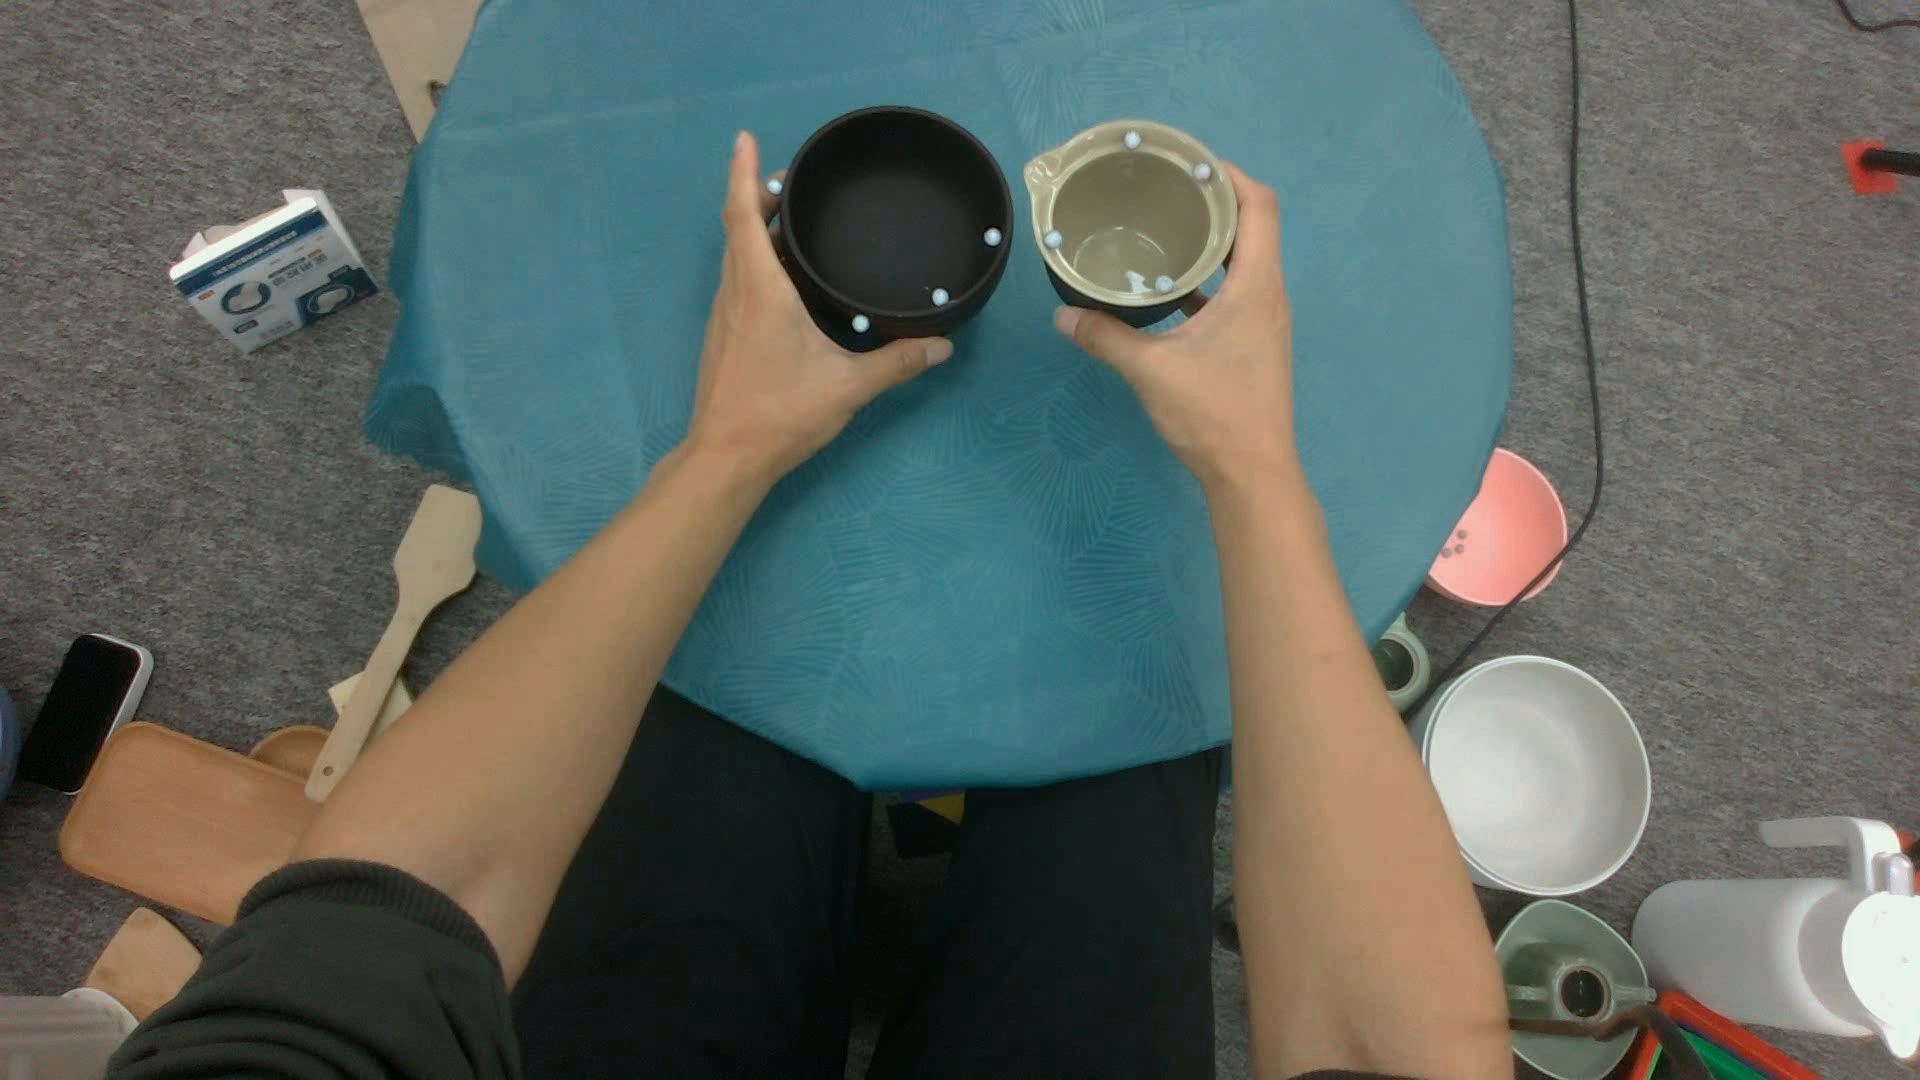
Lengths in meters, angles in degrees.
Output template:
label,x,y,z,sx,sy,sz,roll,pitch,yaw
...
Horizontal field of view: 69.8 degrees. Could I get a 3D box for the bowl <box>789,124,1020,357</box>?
label,x,y,z,sx,sy,sz,roll,pitch,yaw
bowl,-0.030,-0.150,0.724,0.118,0.069,0.118,2,74,-6

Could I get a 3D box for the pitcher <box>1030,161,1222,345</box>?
label,x,y,z,sx,sy,sz,roll,pitch,yaw
pitcher,0.077,-0.137,0.673,0.096,0.071,0.084,31,79,11
